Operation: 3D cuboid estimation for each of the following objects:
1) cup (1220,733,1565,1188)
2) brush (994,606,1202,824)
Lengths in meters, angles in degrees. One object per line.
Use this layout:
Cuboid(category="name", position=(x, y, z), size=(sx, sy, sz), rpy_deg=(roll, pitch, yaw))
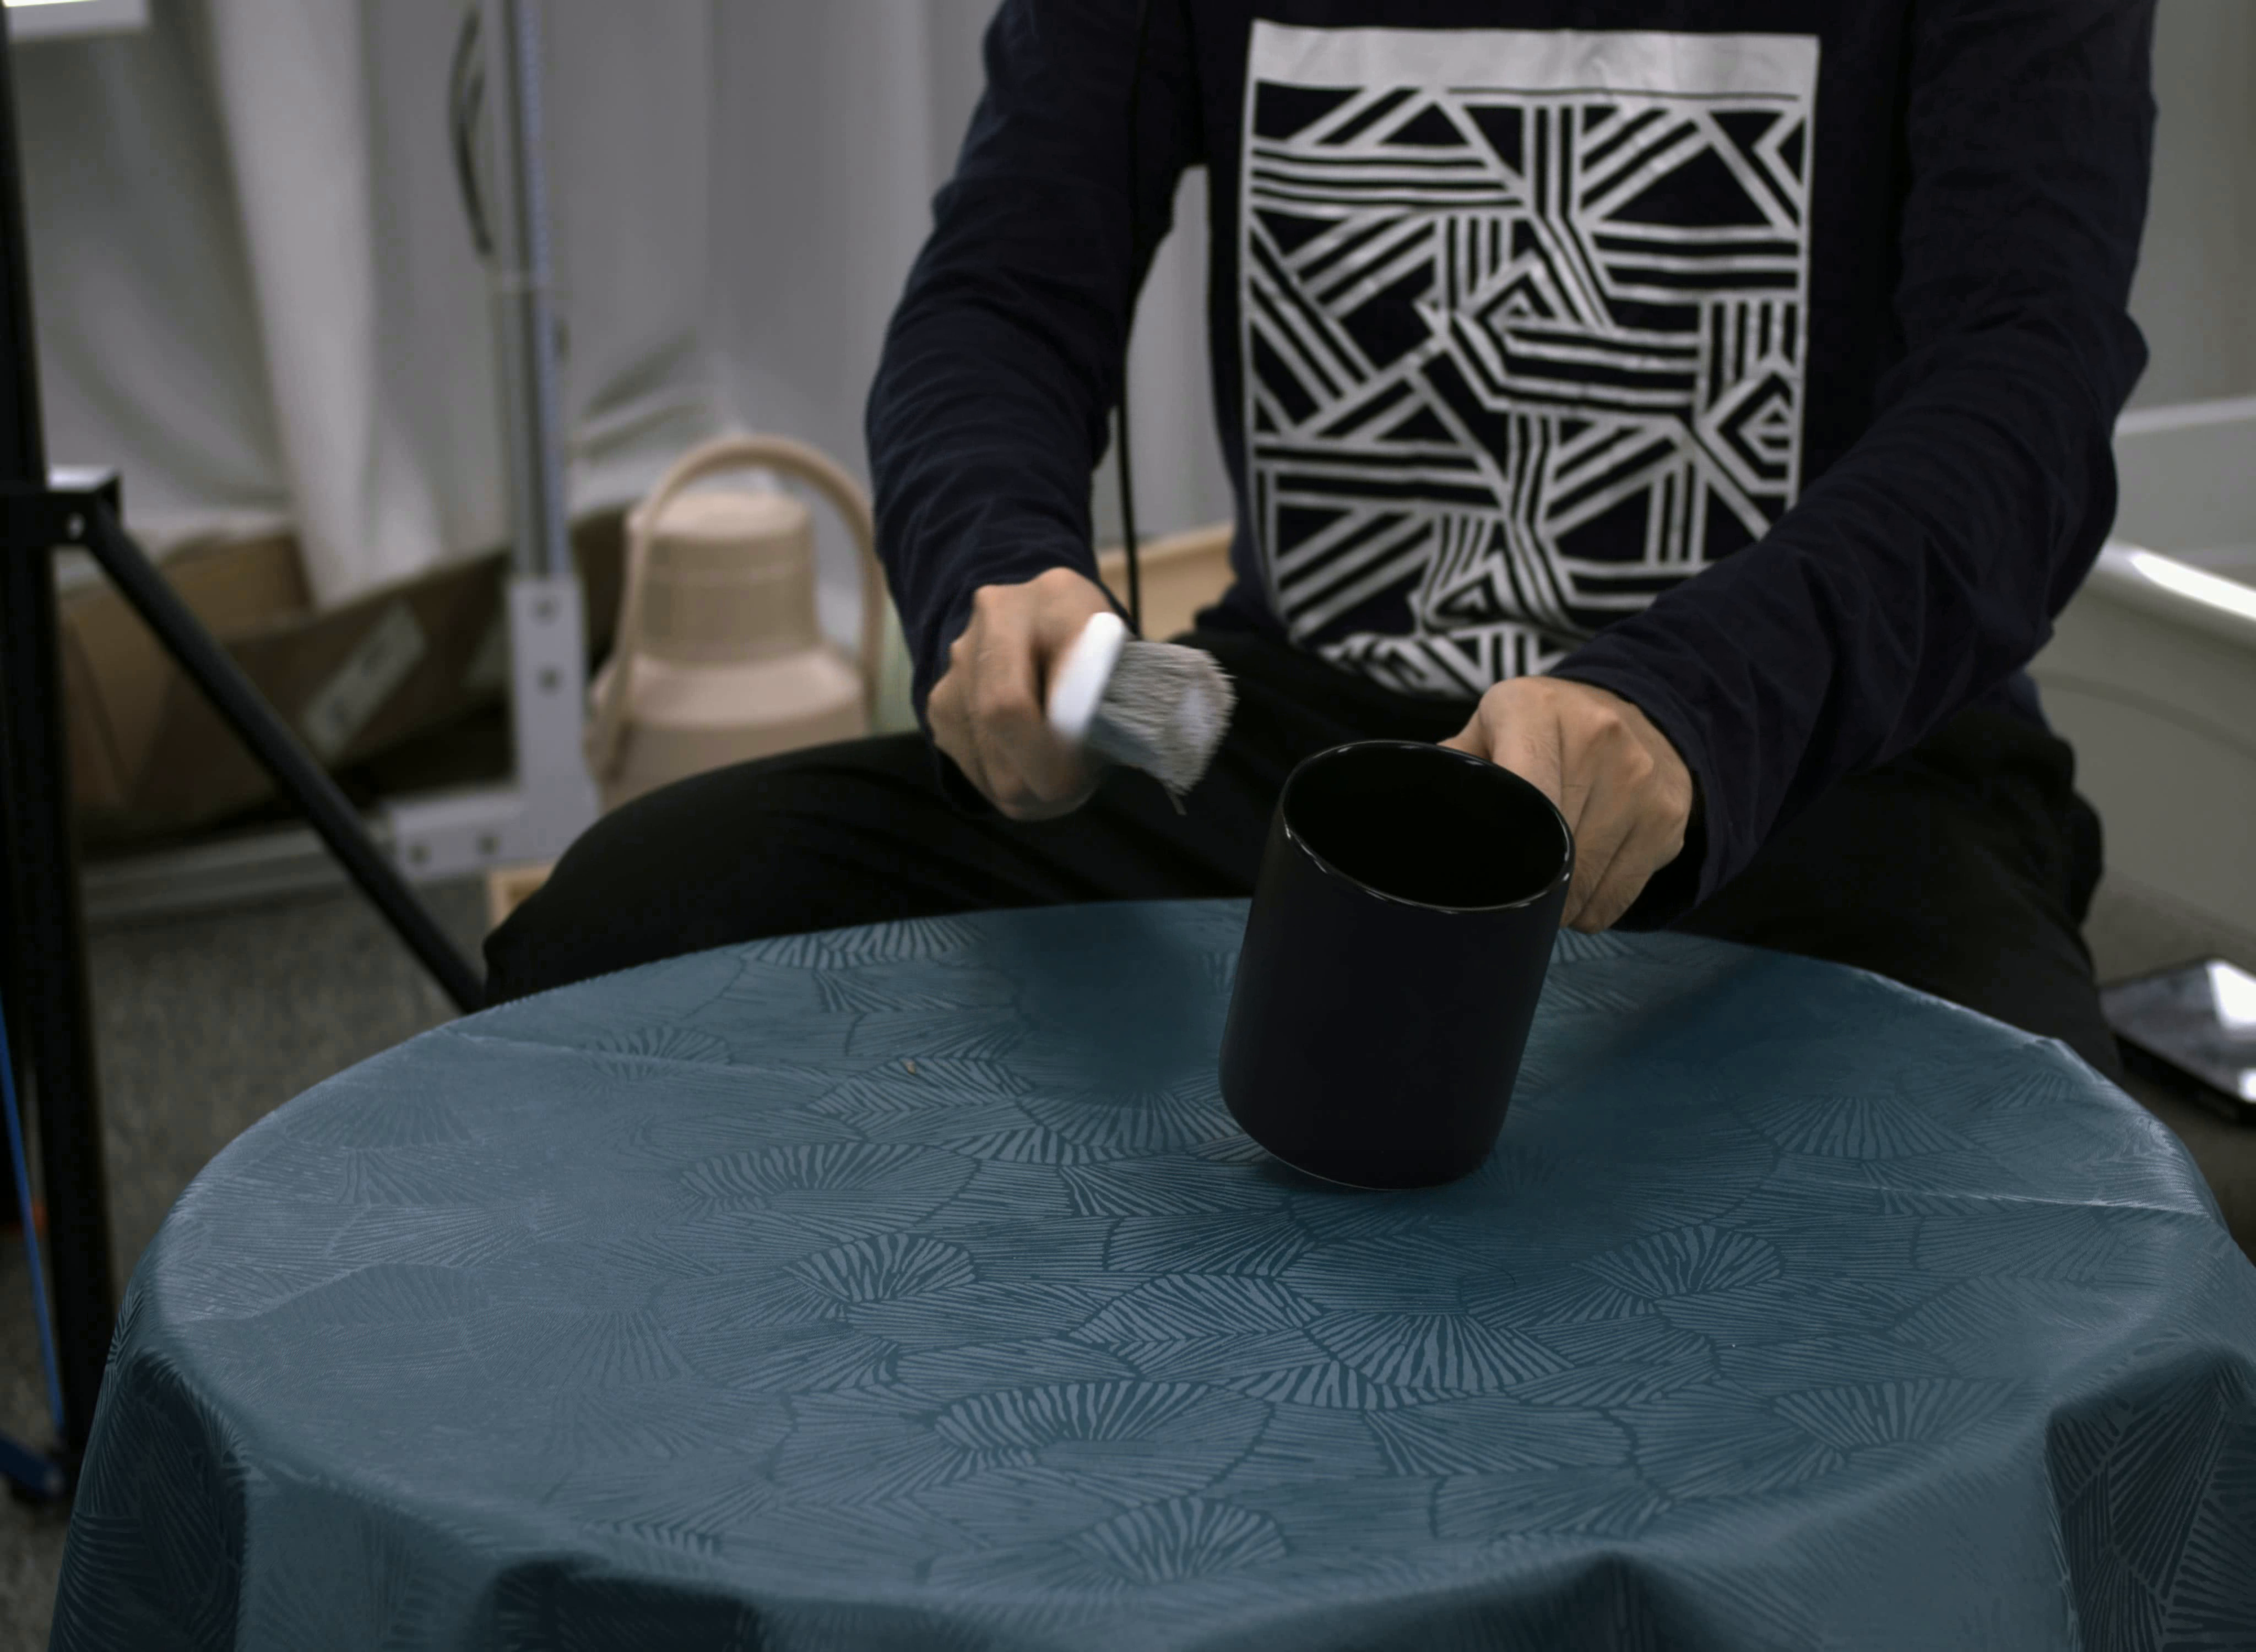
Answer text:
Cuboid(category="cup", position=(0.084, 0.032, 1.571), size=(0.089, 0.105, 0.122), rpy_deg=(19, 32, 17))
Cuboid(category="brush", position=(-0.010, -0.024, 1.680), size=(0.050, 0.034, 0.244), rpy_deg=(22, -11, -1))
